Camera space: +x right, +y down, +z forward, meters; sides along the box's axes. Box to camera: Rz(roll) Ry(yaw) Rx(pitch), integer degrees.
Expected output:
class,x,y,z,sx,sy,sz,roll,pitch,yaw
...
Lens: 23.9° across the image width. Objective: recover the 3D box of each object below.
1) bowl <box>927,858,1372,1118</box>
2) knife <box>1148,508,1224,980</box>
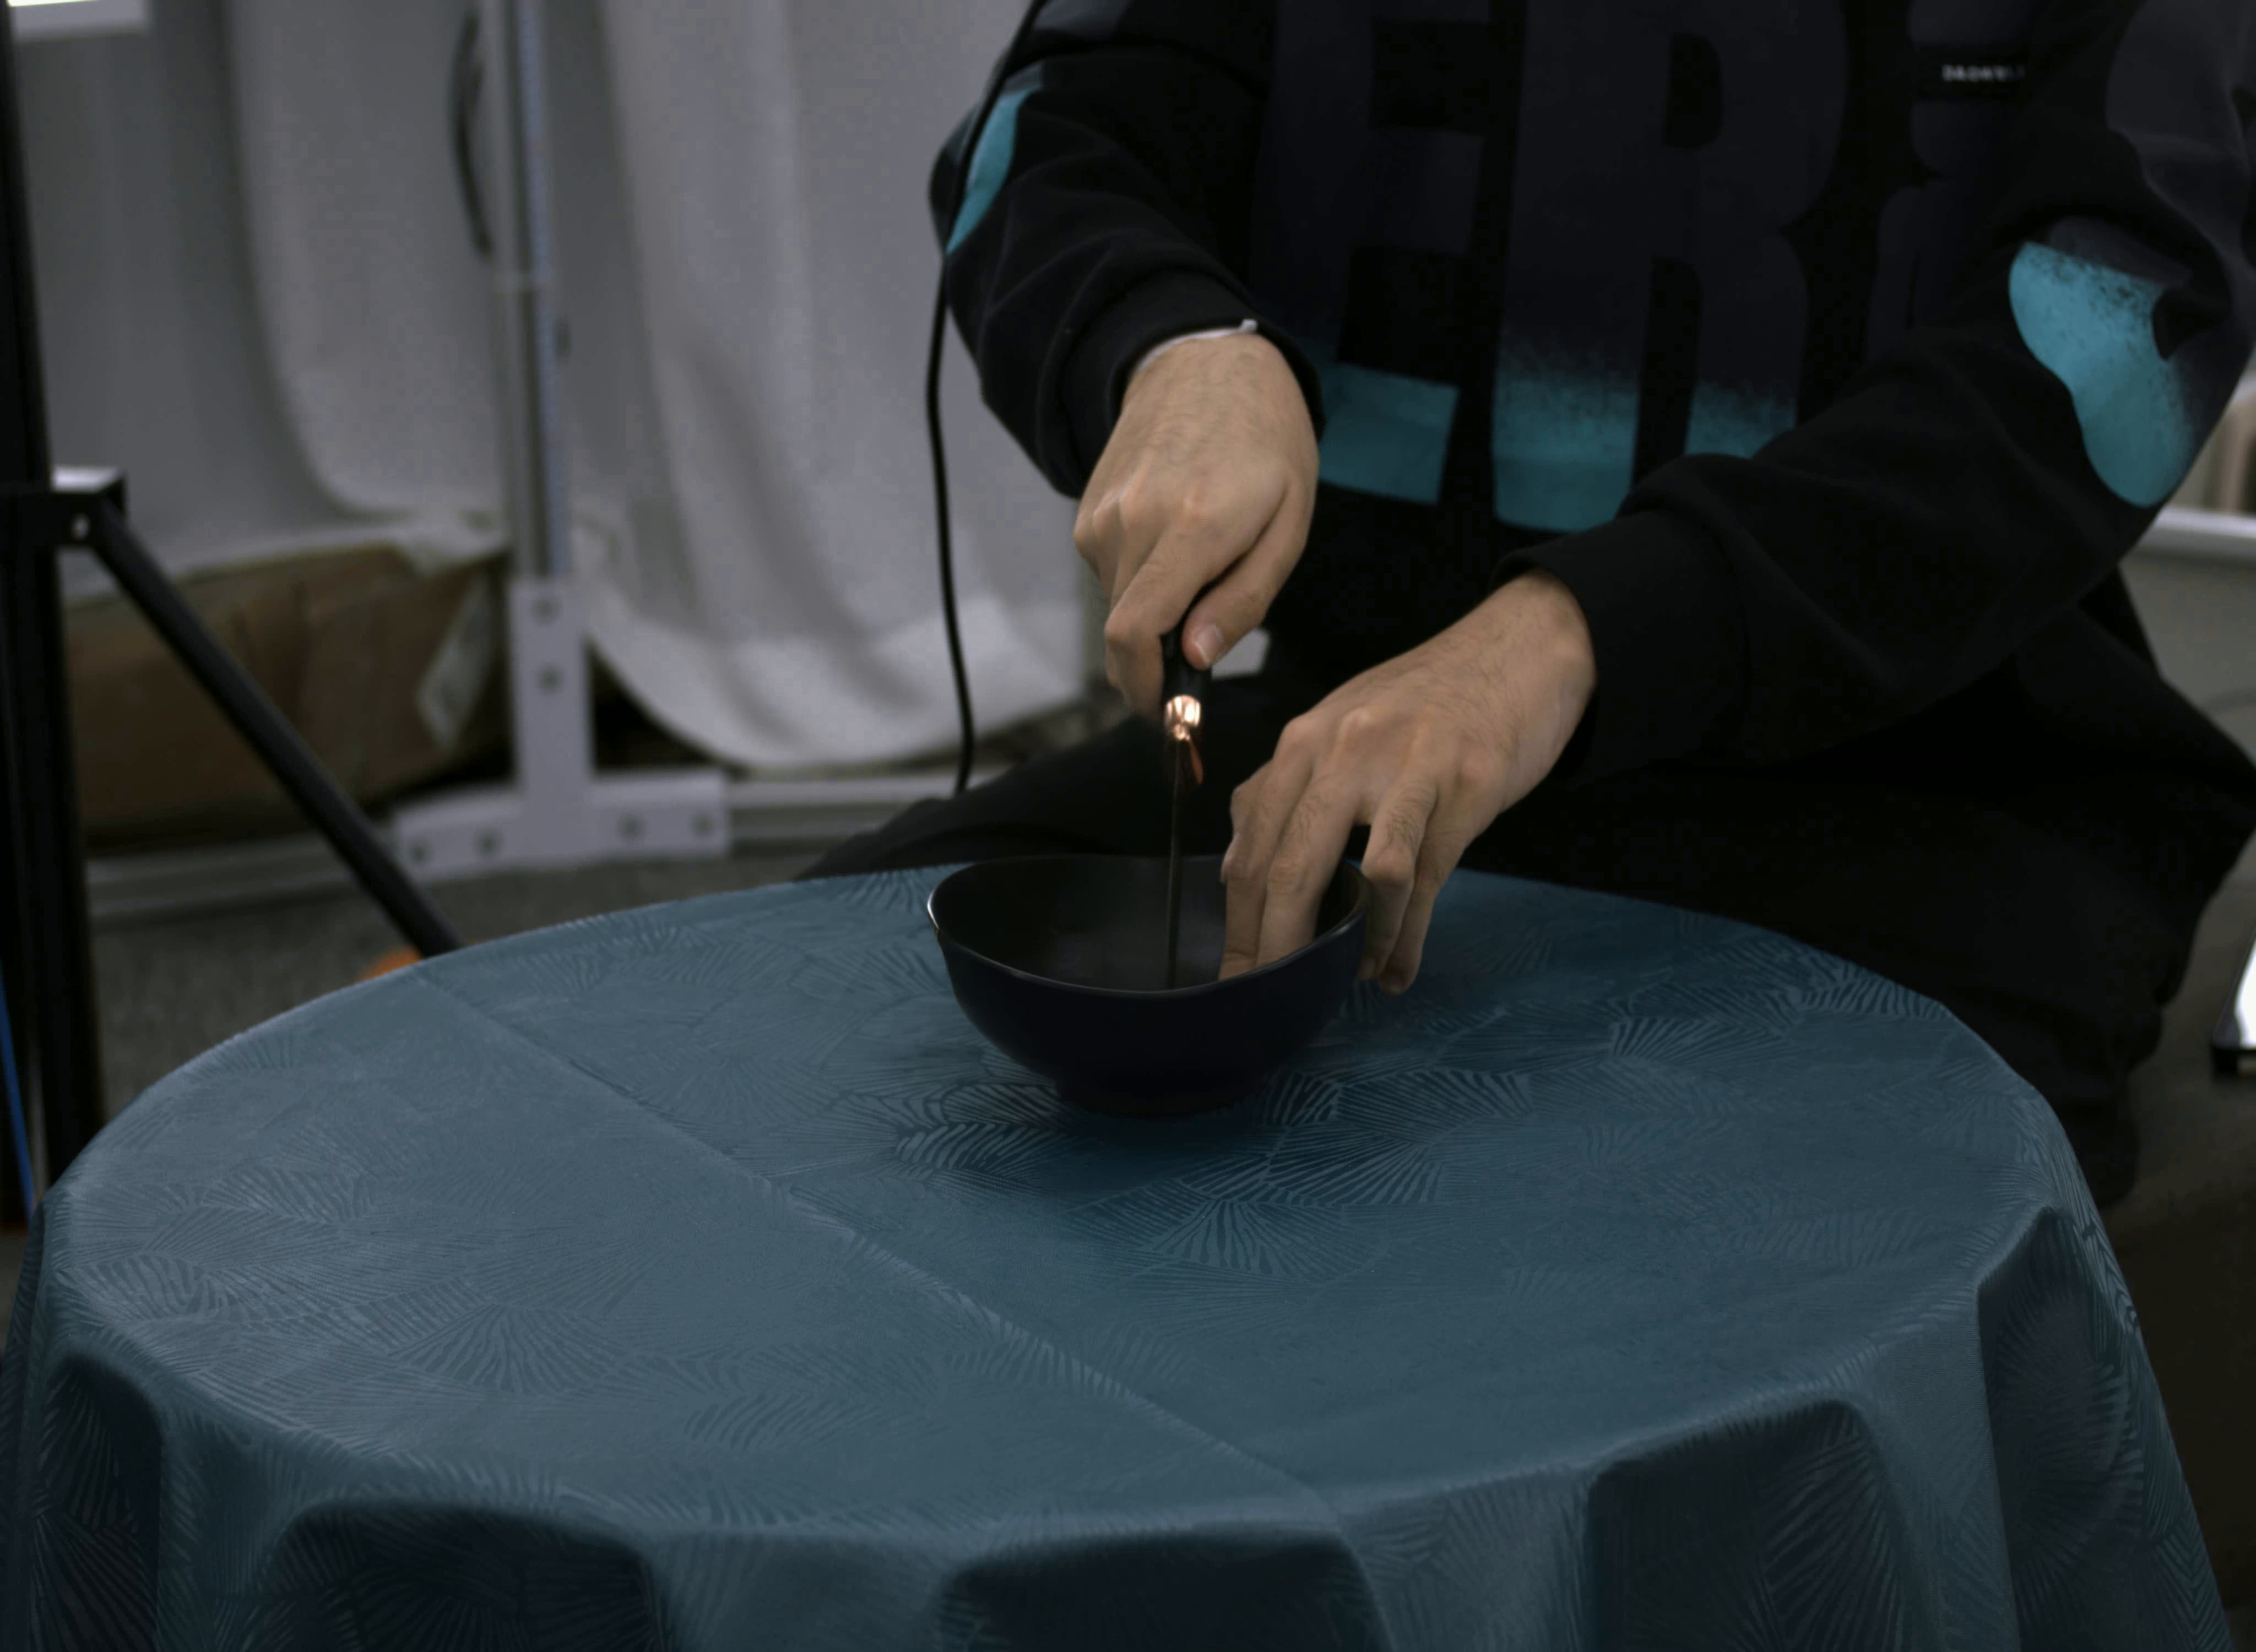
class,x,y,z,sx,sy,sz,roll,pitch,yaw
bowl,0.008,0.051,1.641,0.137,0.067,0.170,-1,14,3
knife,0.016,-0.018,1.688,0.017,0.026,0.227,-3,48,11
